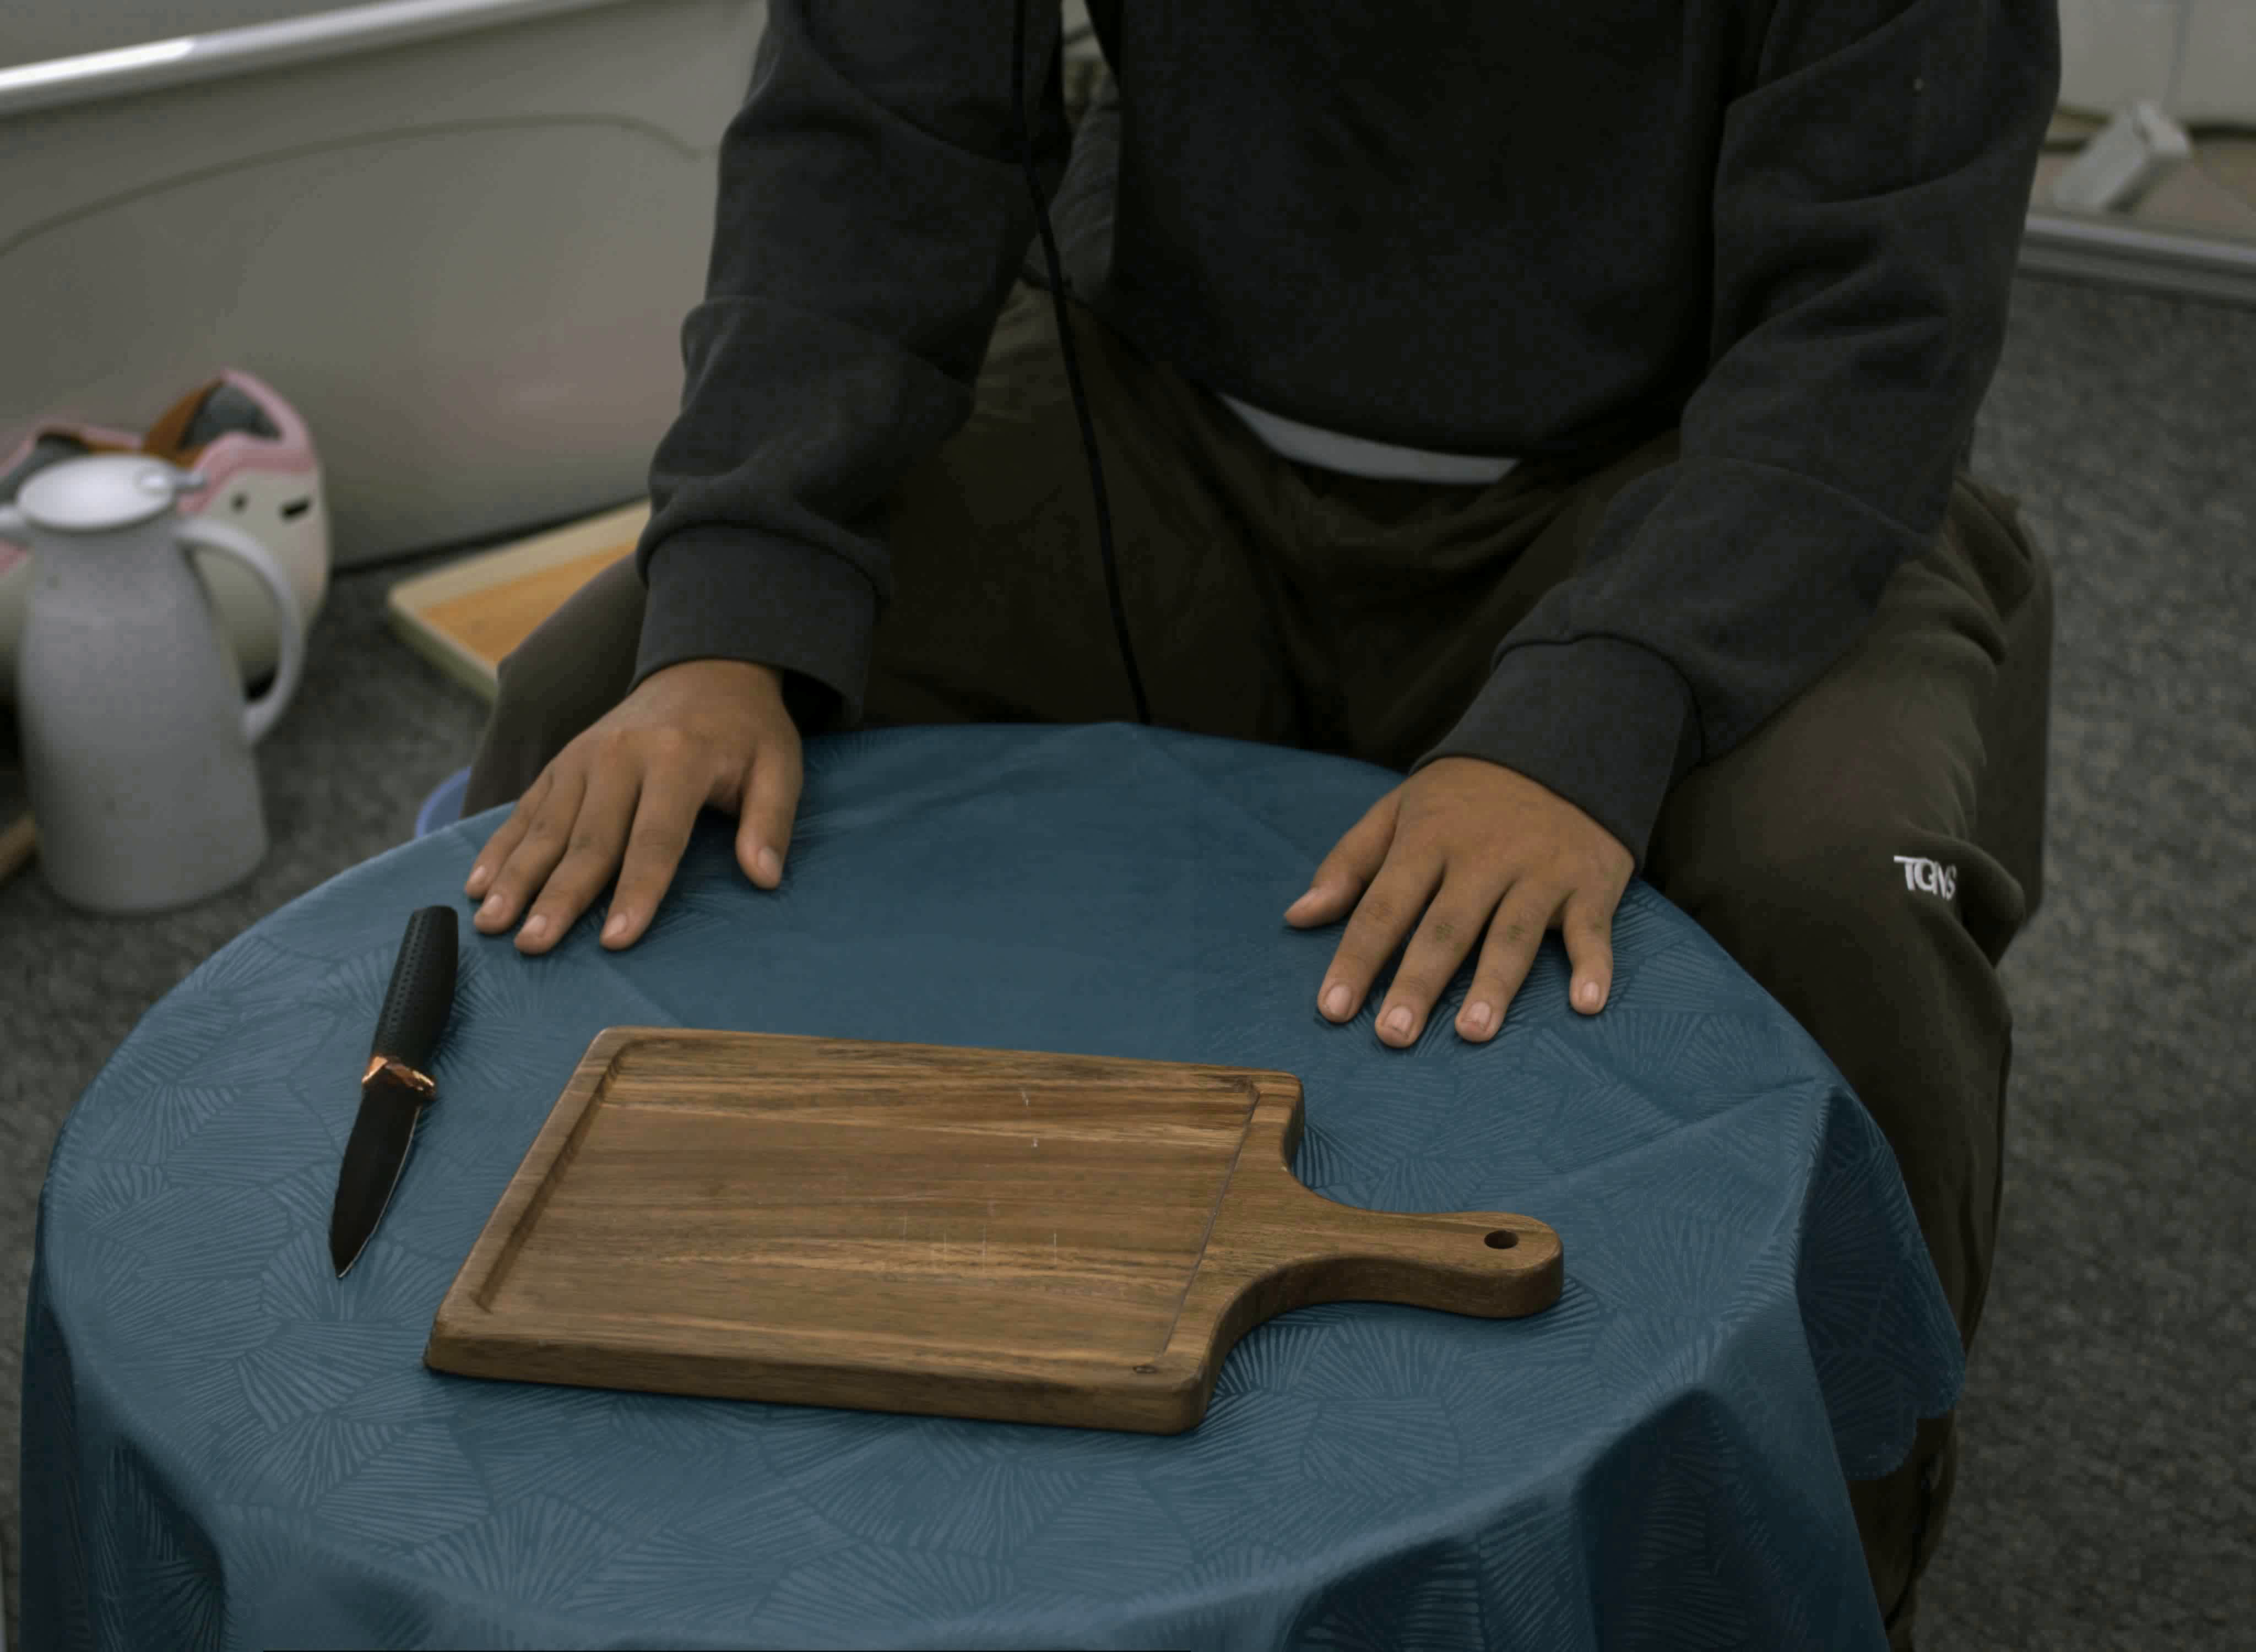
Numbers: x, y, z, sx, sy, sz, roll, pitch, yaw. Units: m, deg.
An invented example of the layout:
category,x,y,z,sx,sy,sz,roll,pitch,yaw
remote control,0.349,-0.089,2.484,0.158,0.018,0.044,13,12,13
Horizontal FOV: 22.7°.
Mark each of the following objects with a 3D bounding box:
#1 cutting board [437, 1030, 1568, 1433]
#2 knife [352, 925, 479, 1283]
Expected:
category,x,y,z,sx,sy,sz,roll,pitch,yaw
cutting board,-0.032,0.132,1.826,0.350,0.023,0.204,3,28,11
knife,-0.248,0.094,1.929,0.026,0.017,0.229,5,28,0
